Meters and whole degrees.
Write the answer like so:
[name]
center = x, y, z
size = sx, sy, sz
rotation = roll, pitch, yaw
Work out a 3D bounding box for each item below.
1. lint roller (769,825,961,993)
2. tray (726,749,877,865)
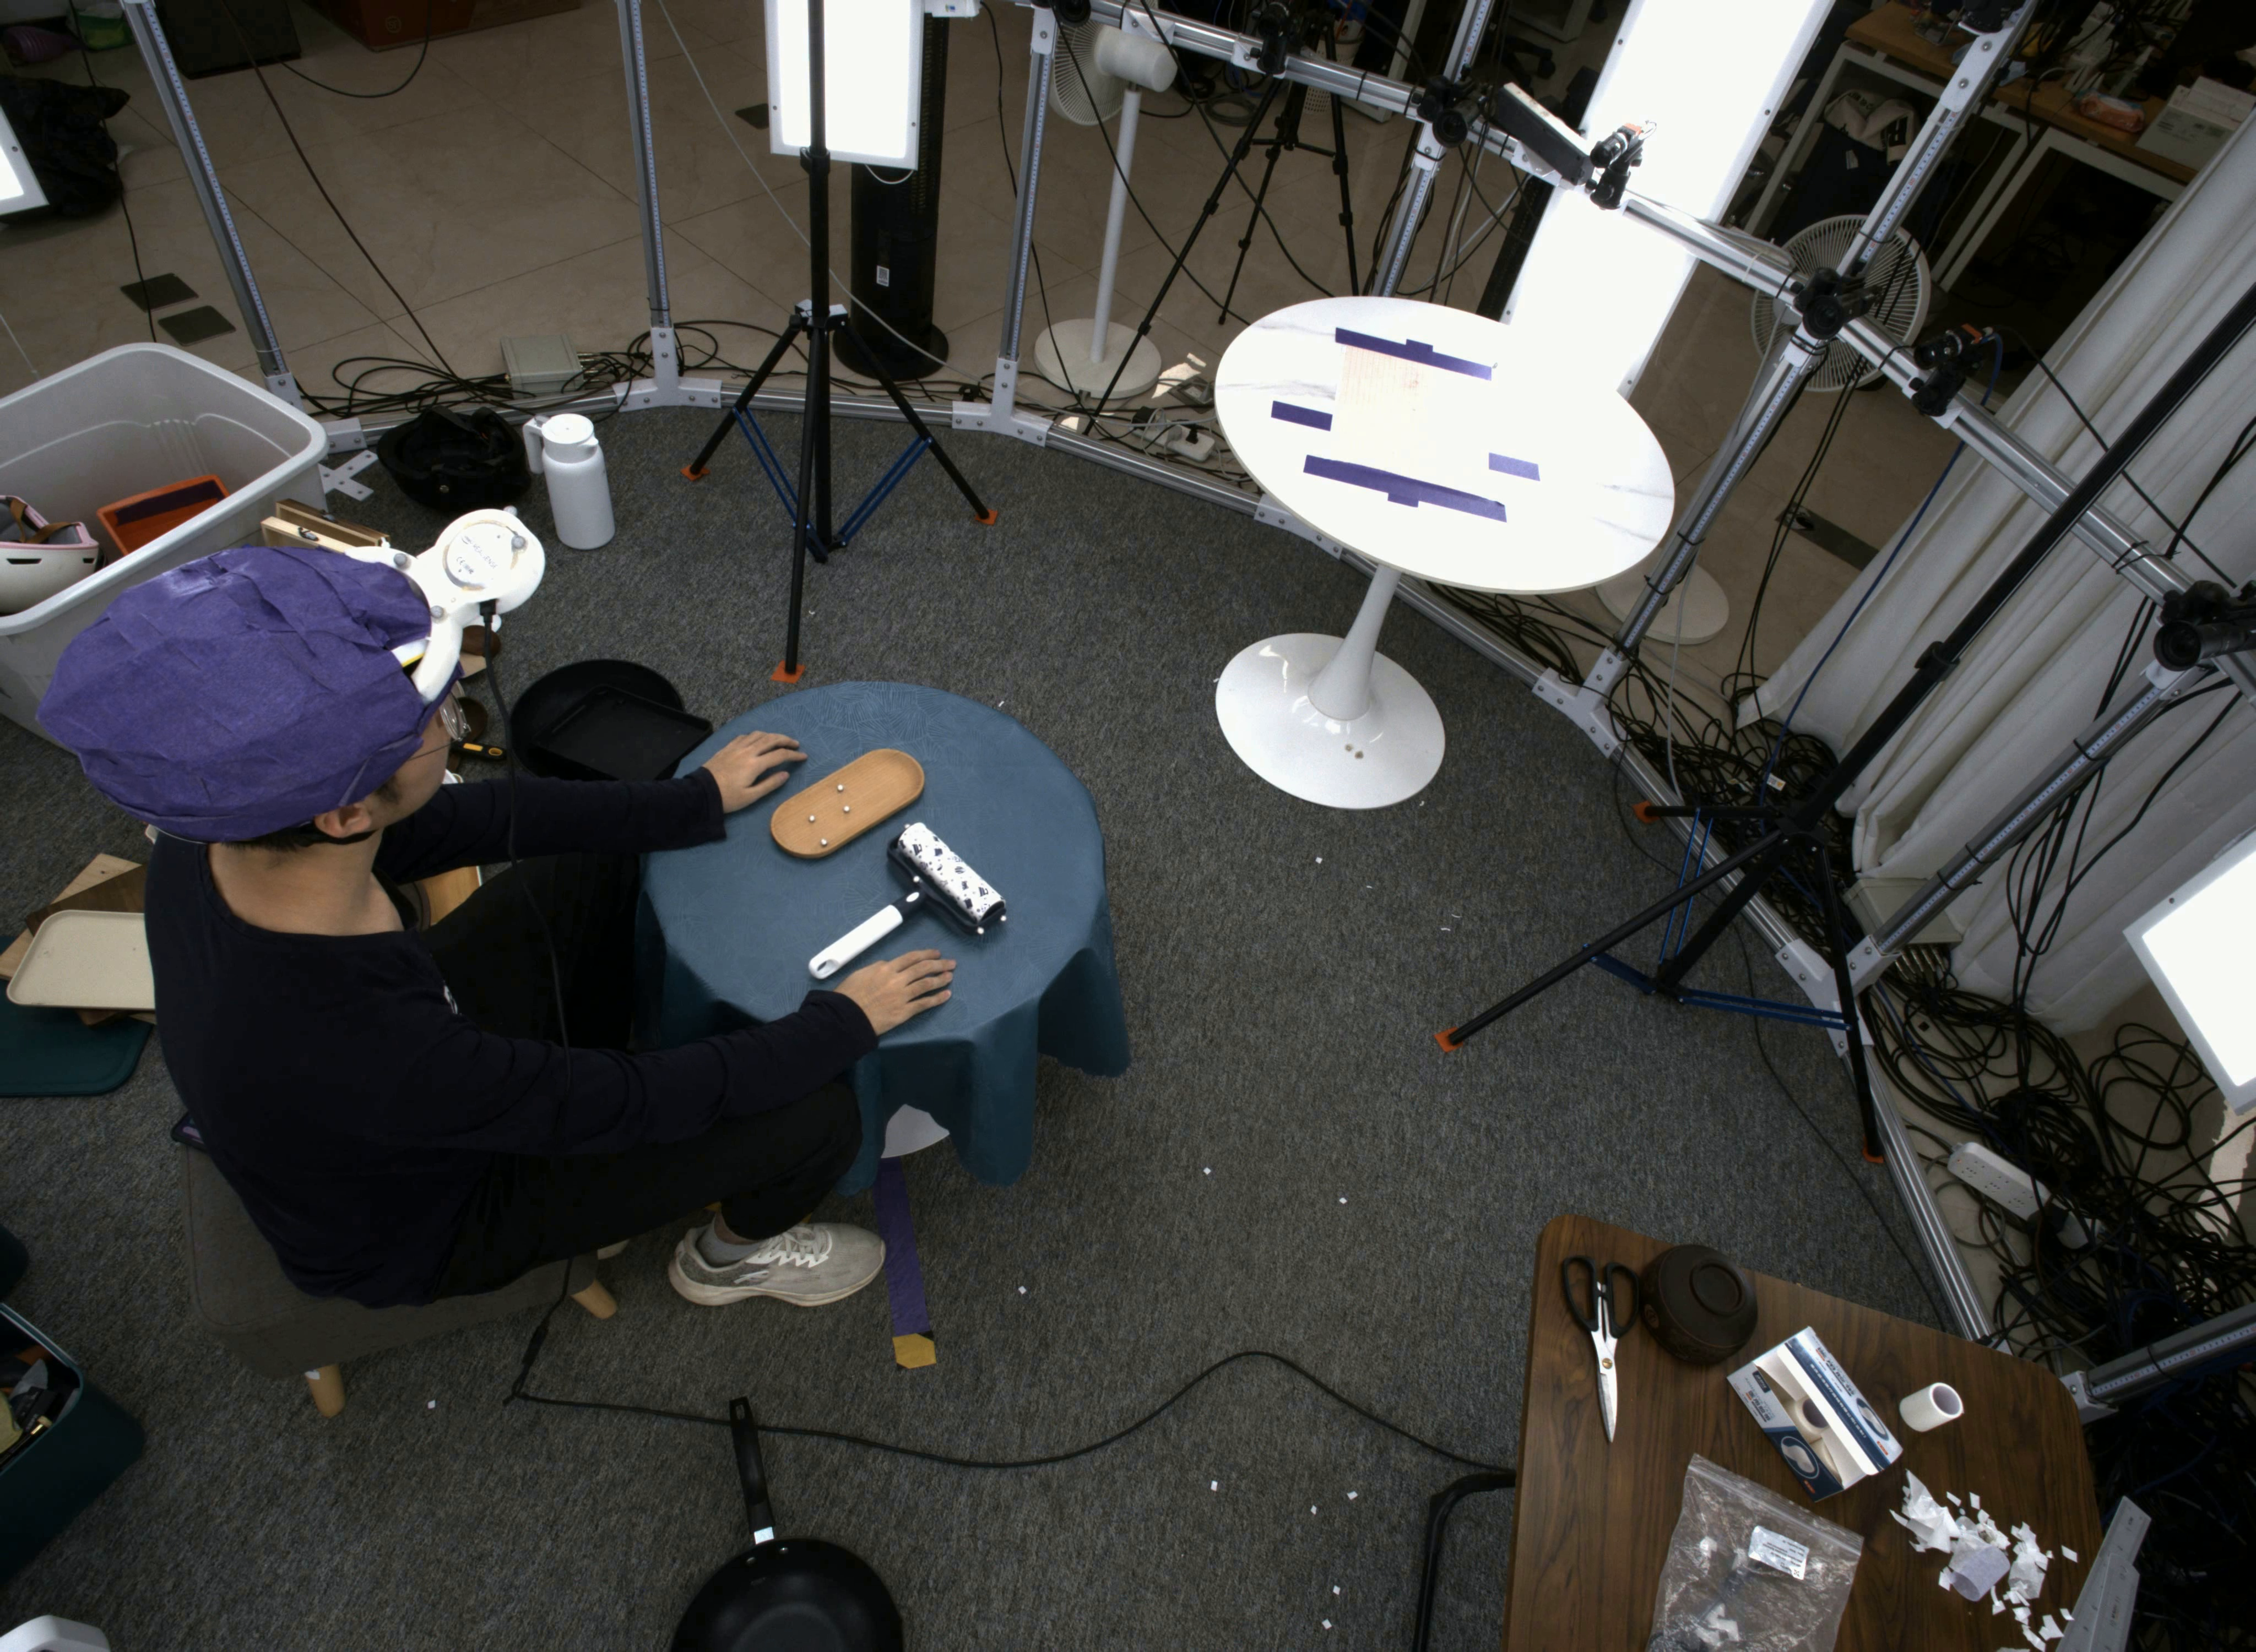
[lint roller]
center = -0.353, 0.120, 1.639
size = 0.173, 0.051, 0.247
rotation = 39, 57, 14
[tray]
center = -0.437, -0.028, 1.743
size = 0.100, 0.021, 0.231
rotation = 40, 54, 14
